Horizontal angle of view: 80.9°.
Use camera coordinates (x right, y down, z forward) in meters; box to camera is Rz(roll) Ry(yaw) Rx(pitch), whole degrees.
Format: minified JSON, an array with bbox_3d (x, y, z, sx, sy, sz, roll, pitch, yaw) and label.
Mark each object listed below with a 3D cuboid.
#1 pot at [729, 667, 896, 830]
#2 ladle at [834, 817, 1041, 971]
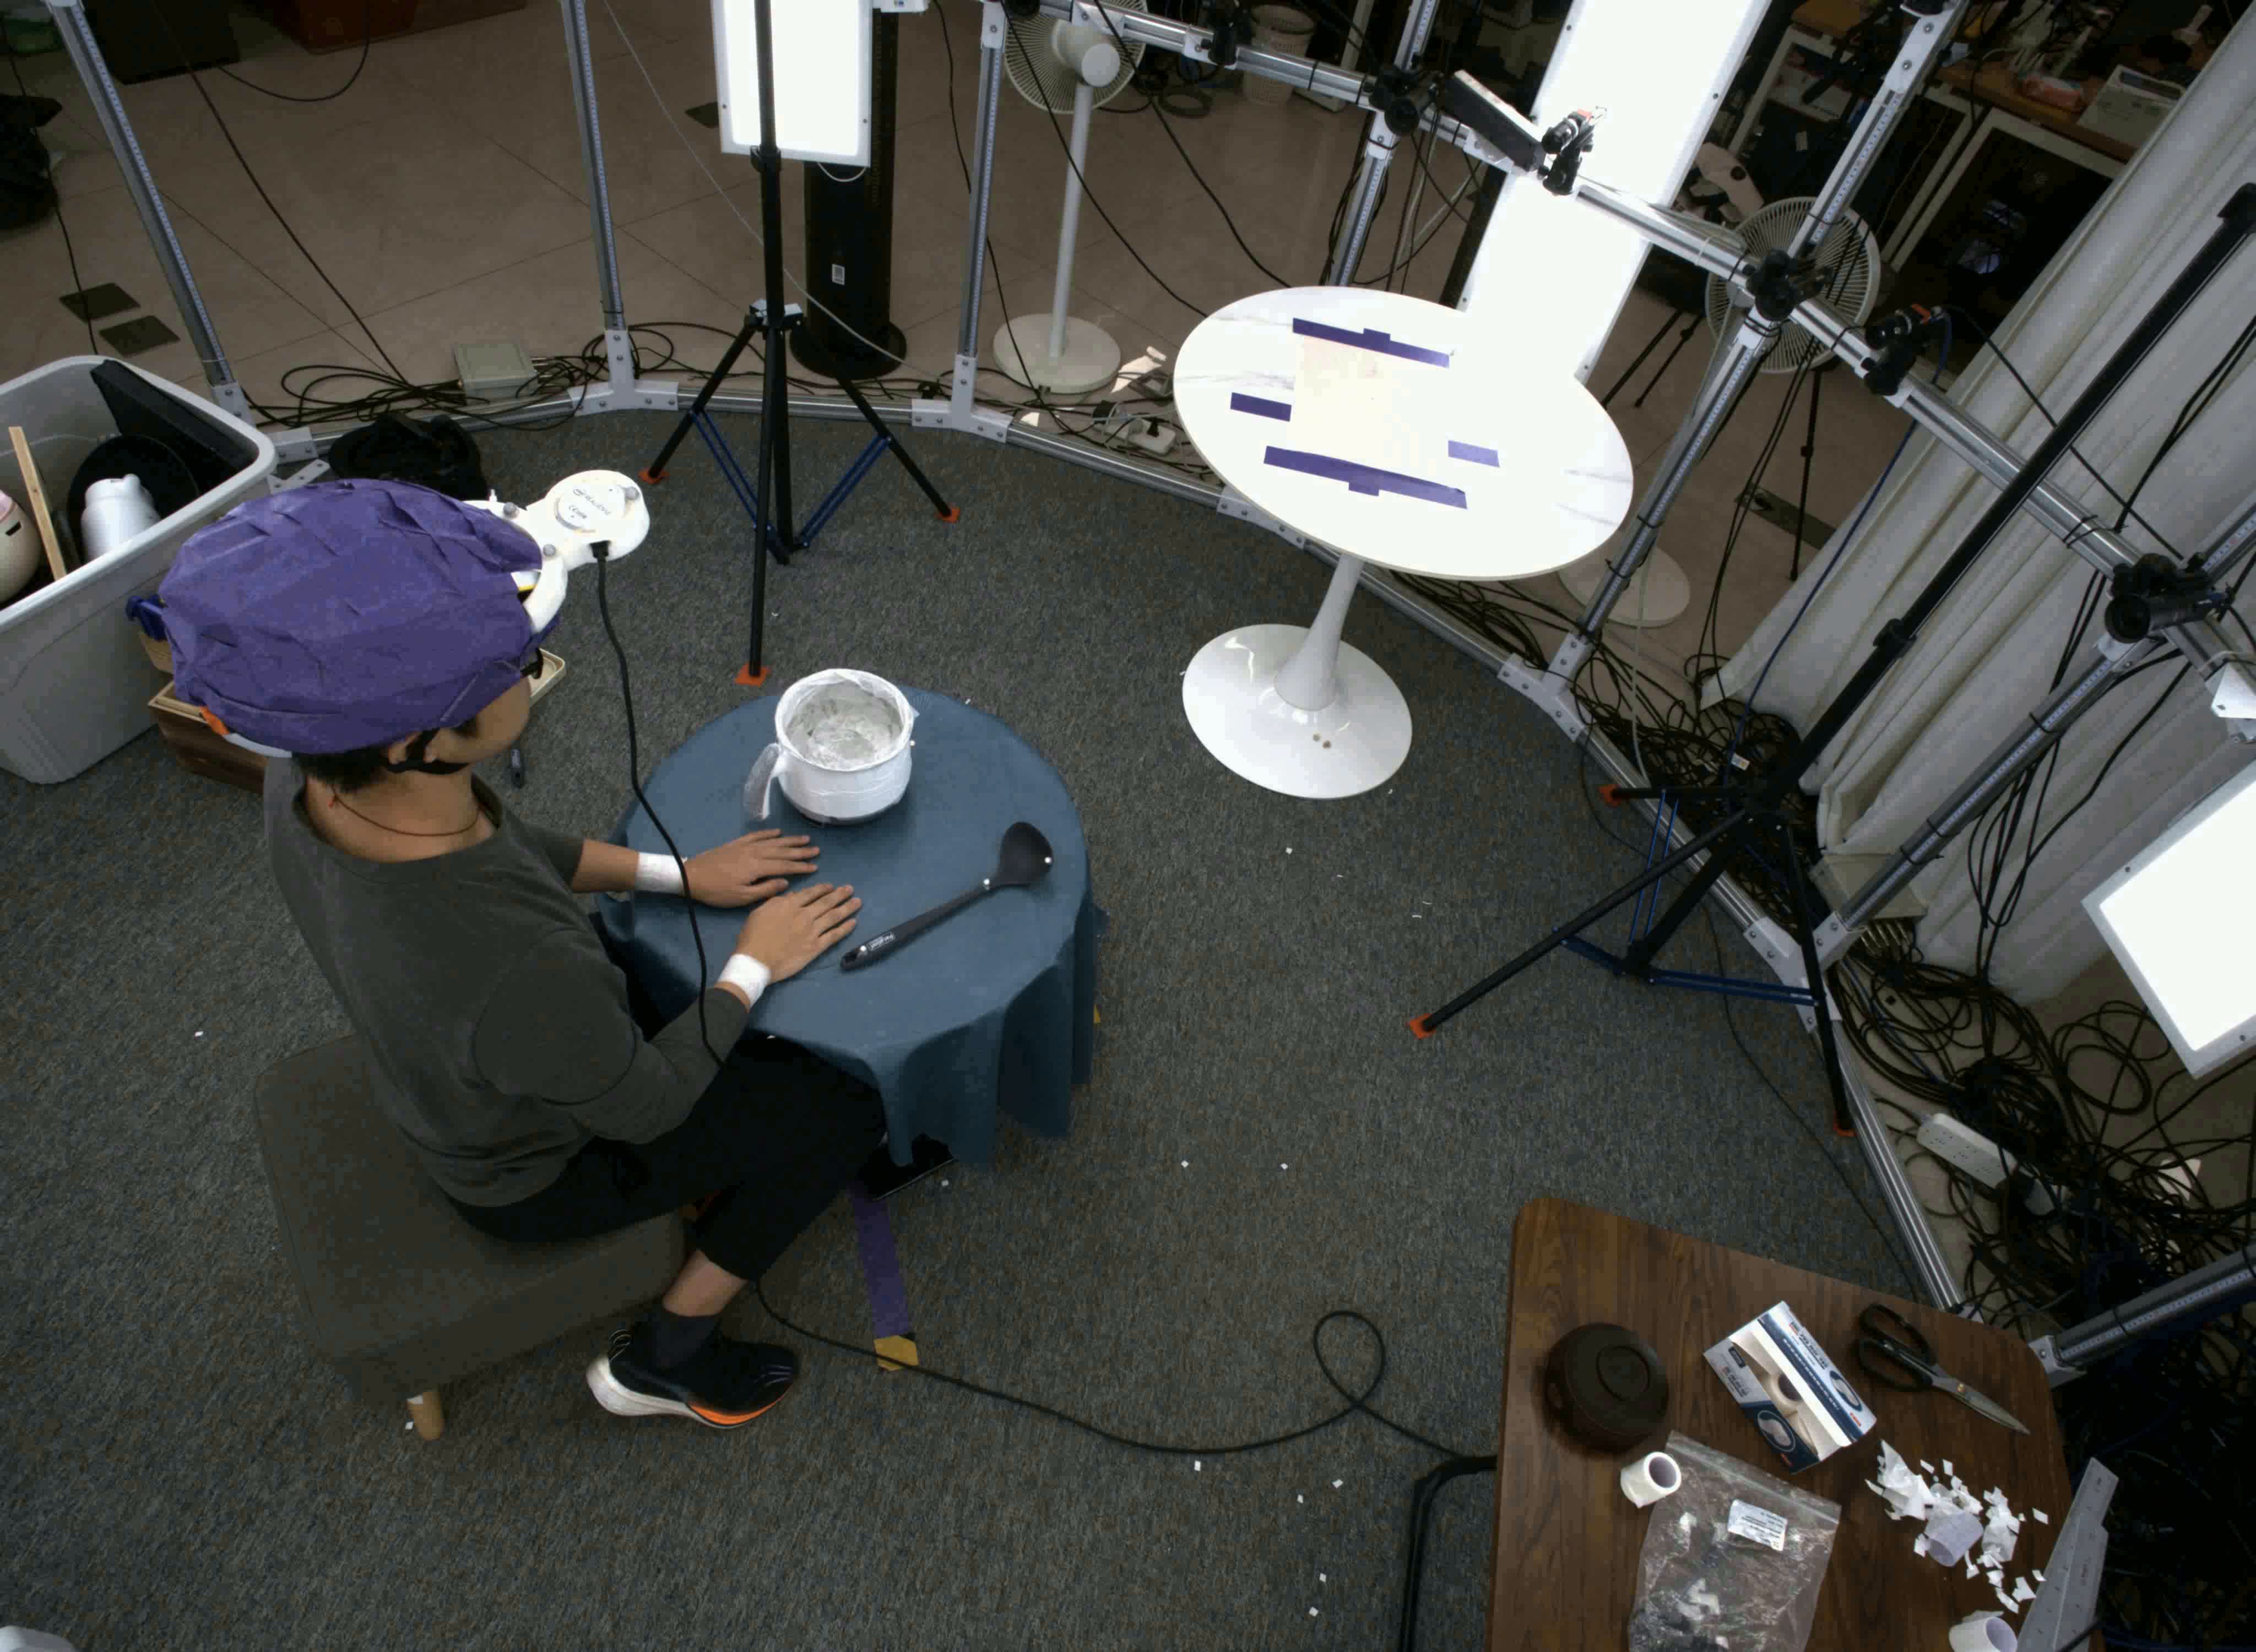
[{"bbox_3d":[-0.420,-0.089,1.713,0.234,0.139,0.174,-30,65,-31],"label":"pot"},{"bbox_3d":[-0.246,0.090,1.674,0.315,0.065,0.084,-31,61,-31],"label":"ladle"}]
